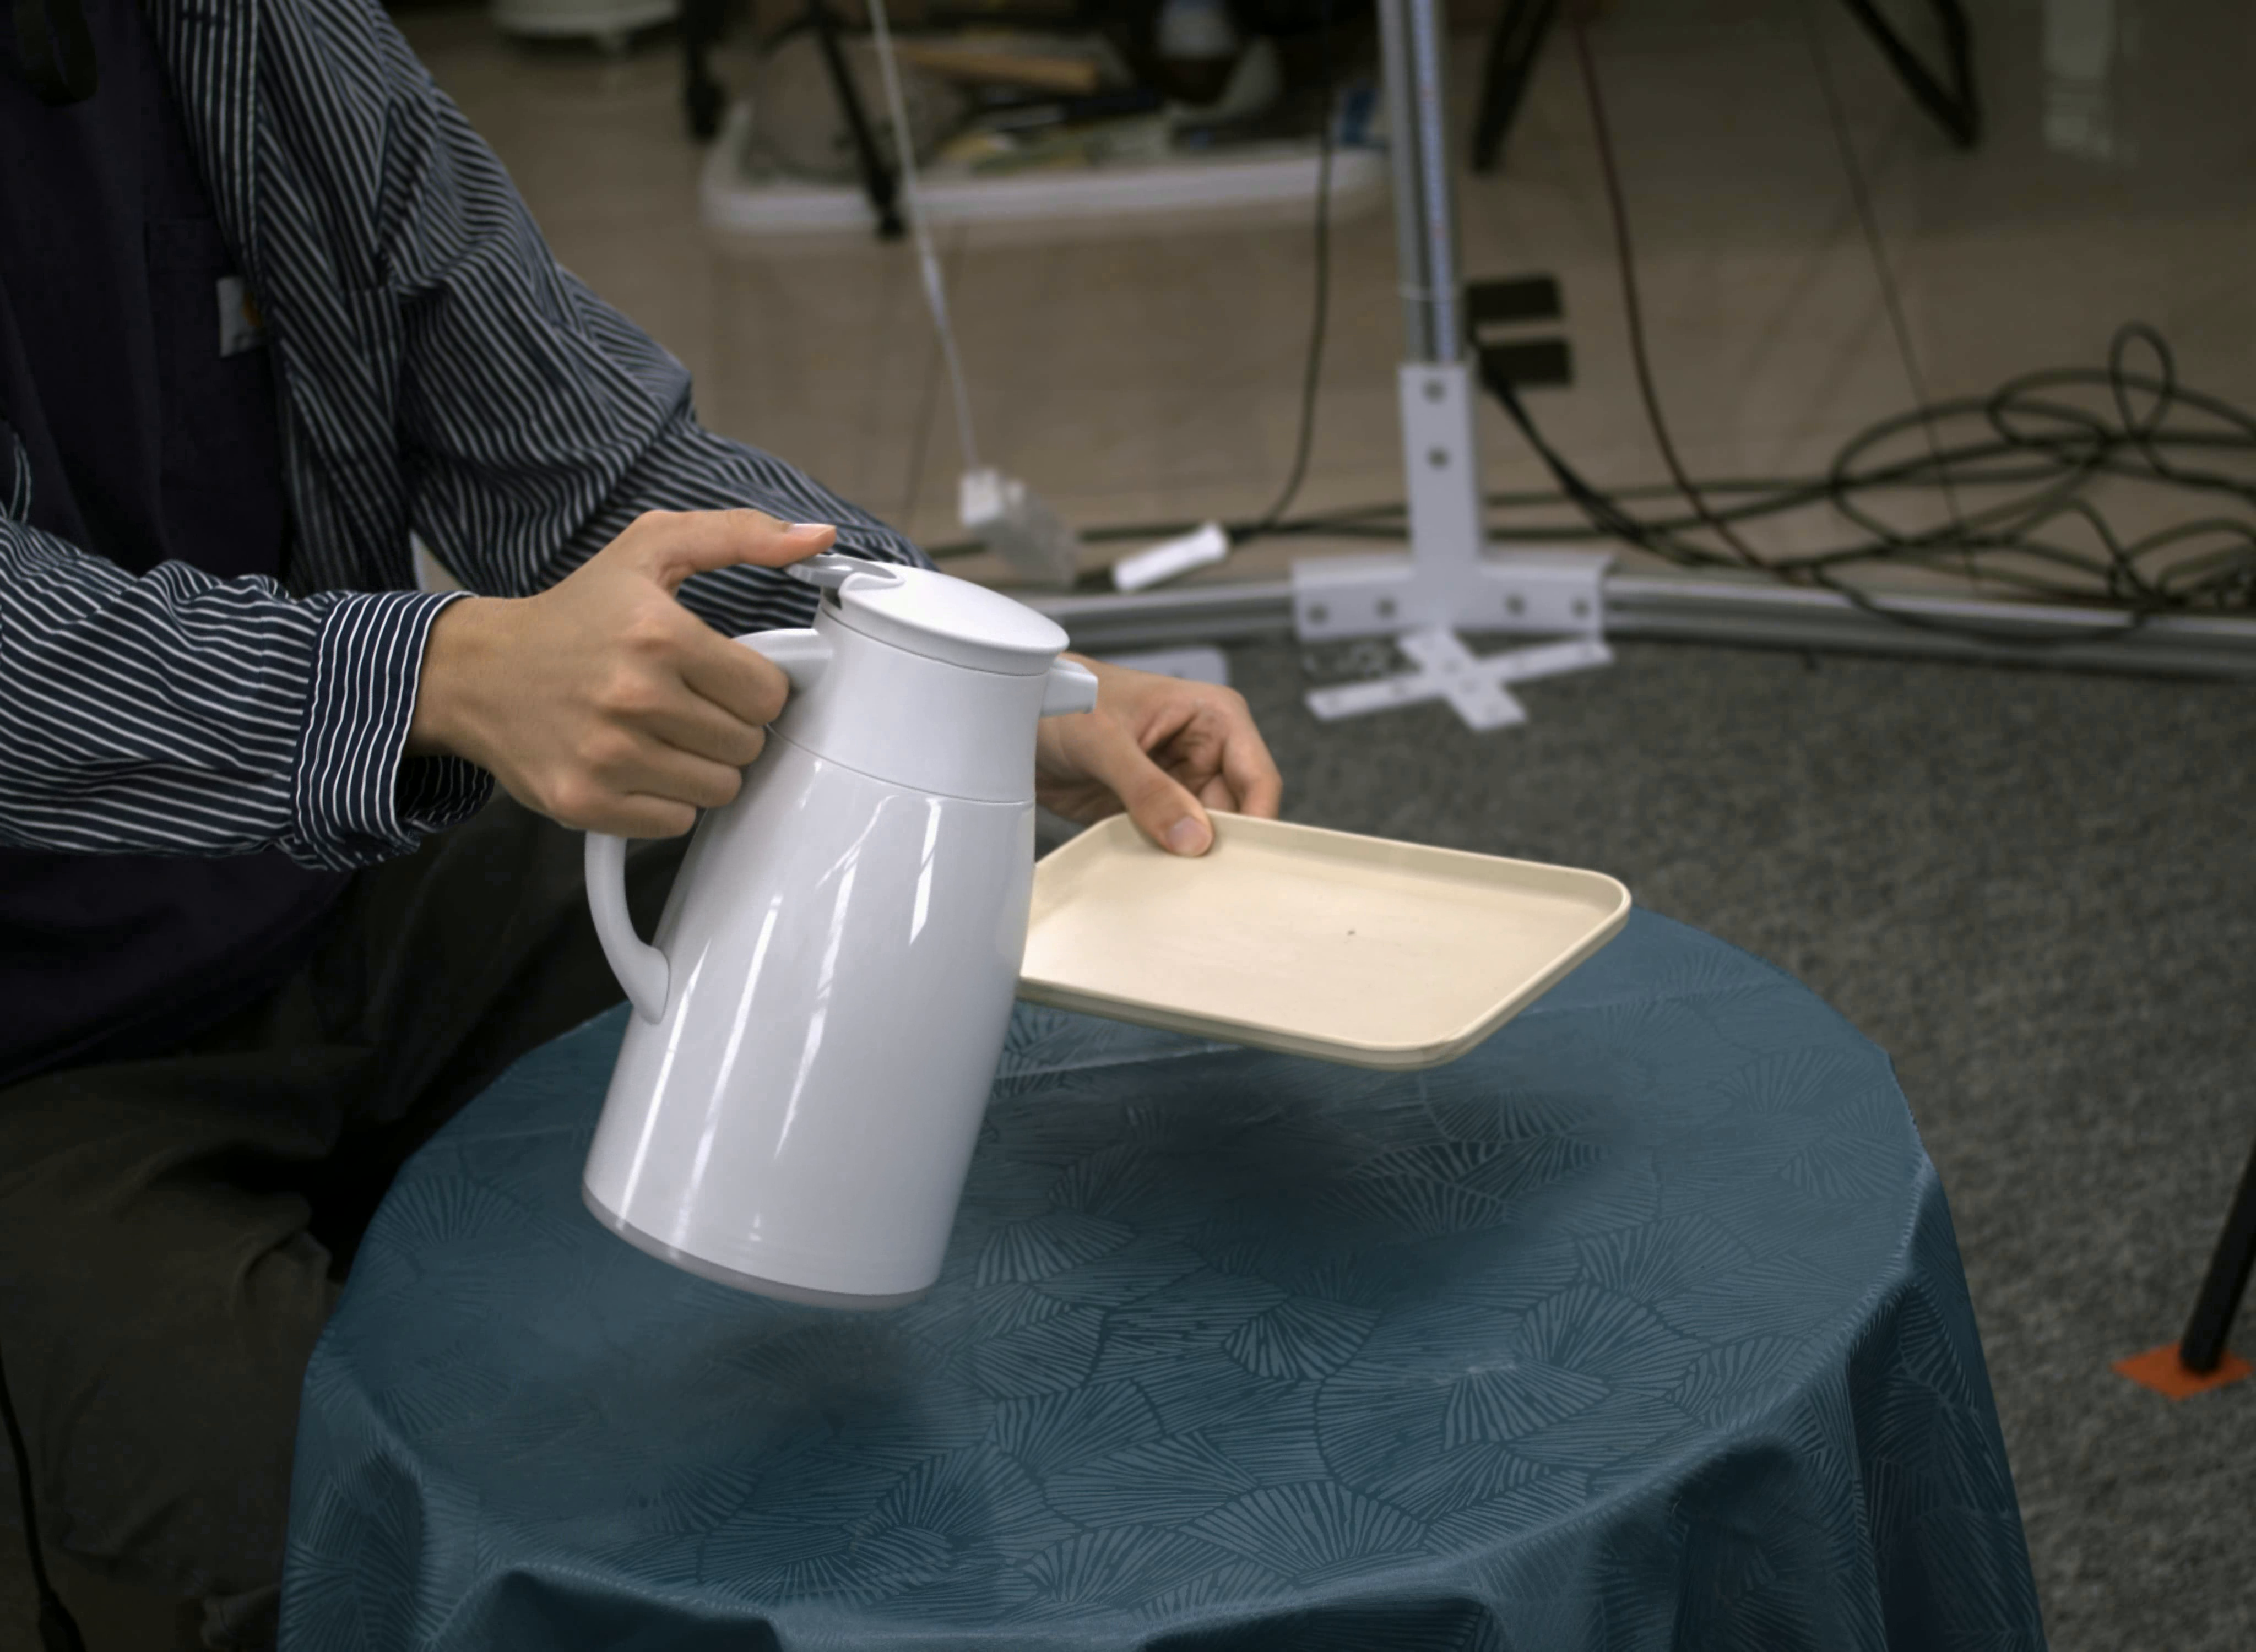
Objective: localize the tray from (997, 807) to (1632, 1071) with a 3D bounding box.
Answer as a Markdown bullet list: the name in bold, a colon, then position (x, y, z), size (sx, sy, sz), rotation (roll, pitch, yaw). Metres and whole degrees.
- **tray**: position (0.057, 0.042, 2.139), size (0.238, 0.018, 0.169), rotation (10, 26, 32)

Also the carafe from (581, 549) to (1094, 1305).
- **carafe**: position (-0.113, 0.027, 1.984), size (0.168, 0.251, 0.131), rotation (8, 17, -30)
